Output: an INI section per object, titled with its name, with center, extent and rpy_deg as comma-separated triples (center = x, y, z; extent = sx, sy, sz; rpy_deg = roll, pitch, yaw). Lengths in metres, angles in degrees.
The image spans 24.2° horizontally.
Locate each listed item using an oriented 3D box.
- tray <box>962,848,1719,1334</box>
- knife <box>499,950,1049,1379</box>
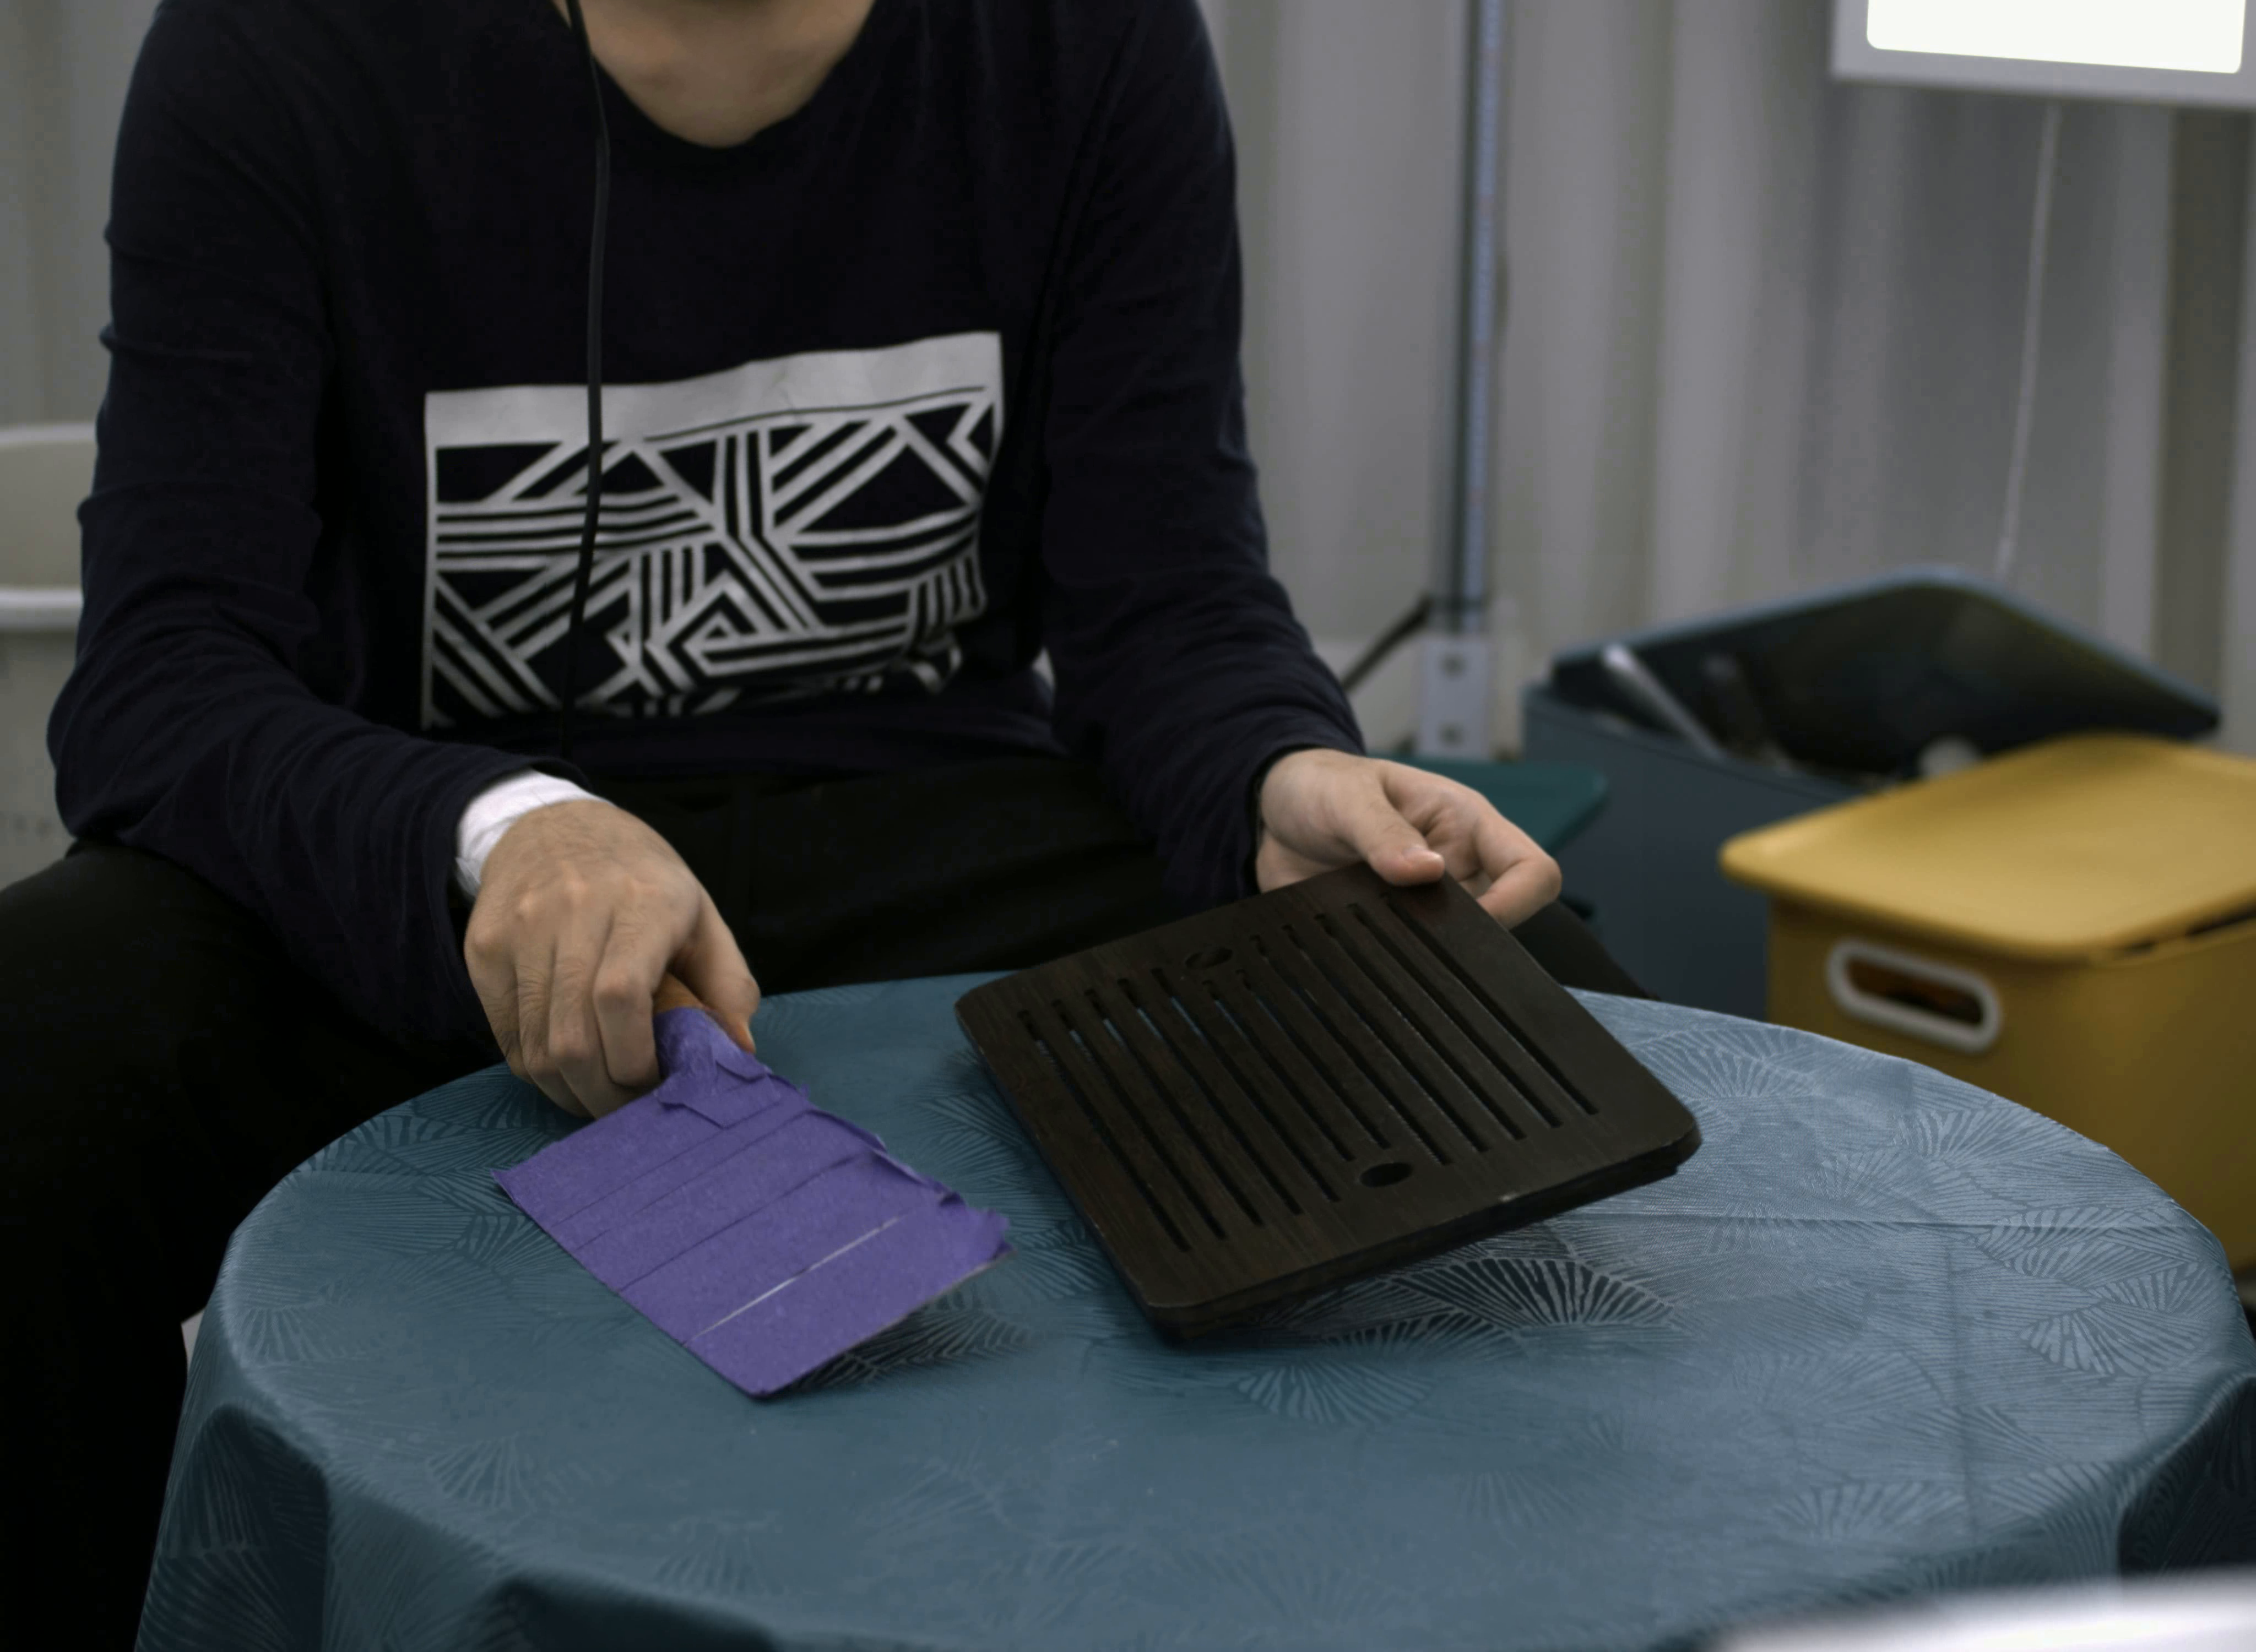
[tray]
center = 0.058, 0.078, 1.636
extent = 0.170, 0.019, 0.303
rpy_deg = -18, 19, -9
[knife]
center = -0.135, 0.098, 1.591
extent = 0.104, 0.032, 0.311
rpy_deg = -26, 22, -20
